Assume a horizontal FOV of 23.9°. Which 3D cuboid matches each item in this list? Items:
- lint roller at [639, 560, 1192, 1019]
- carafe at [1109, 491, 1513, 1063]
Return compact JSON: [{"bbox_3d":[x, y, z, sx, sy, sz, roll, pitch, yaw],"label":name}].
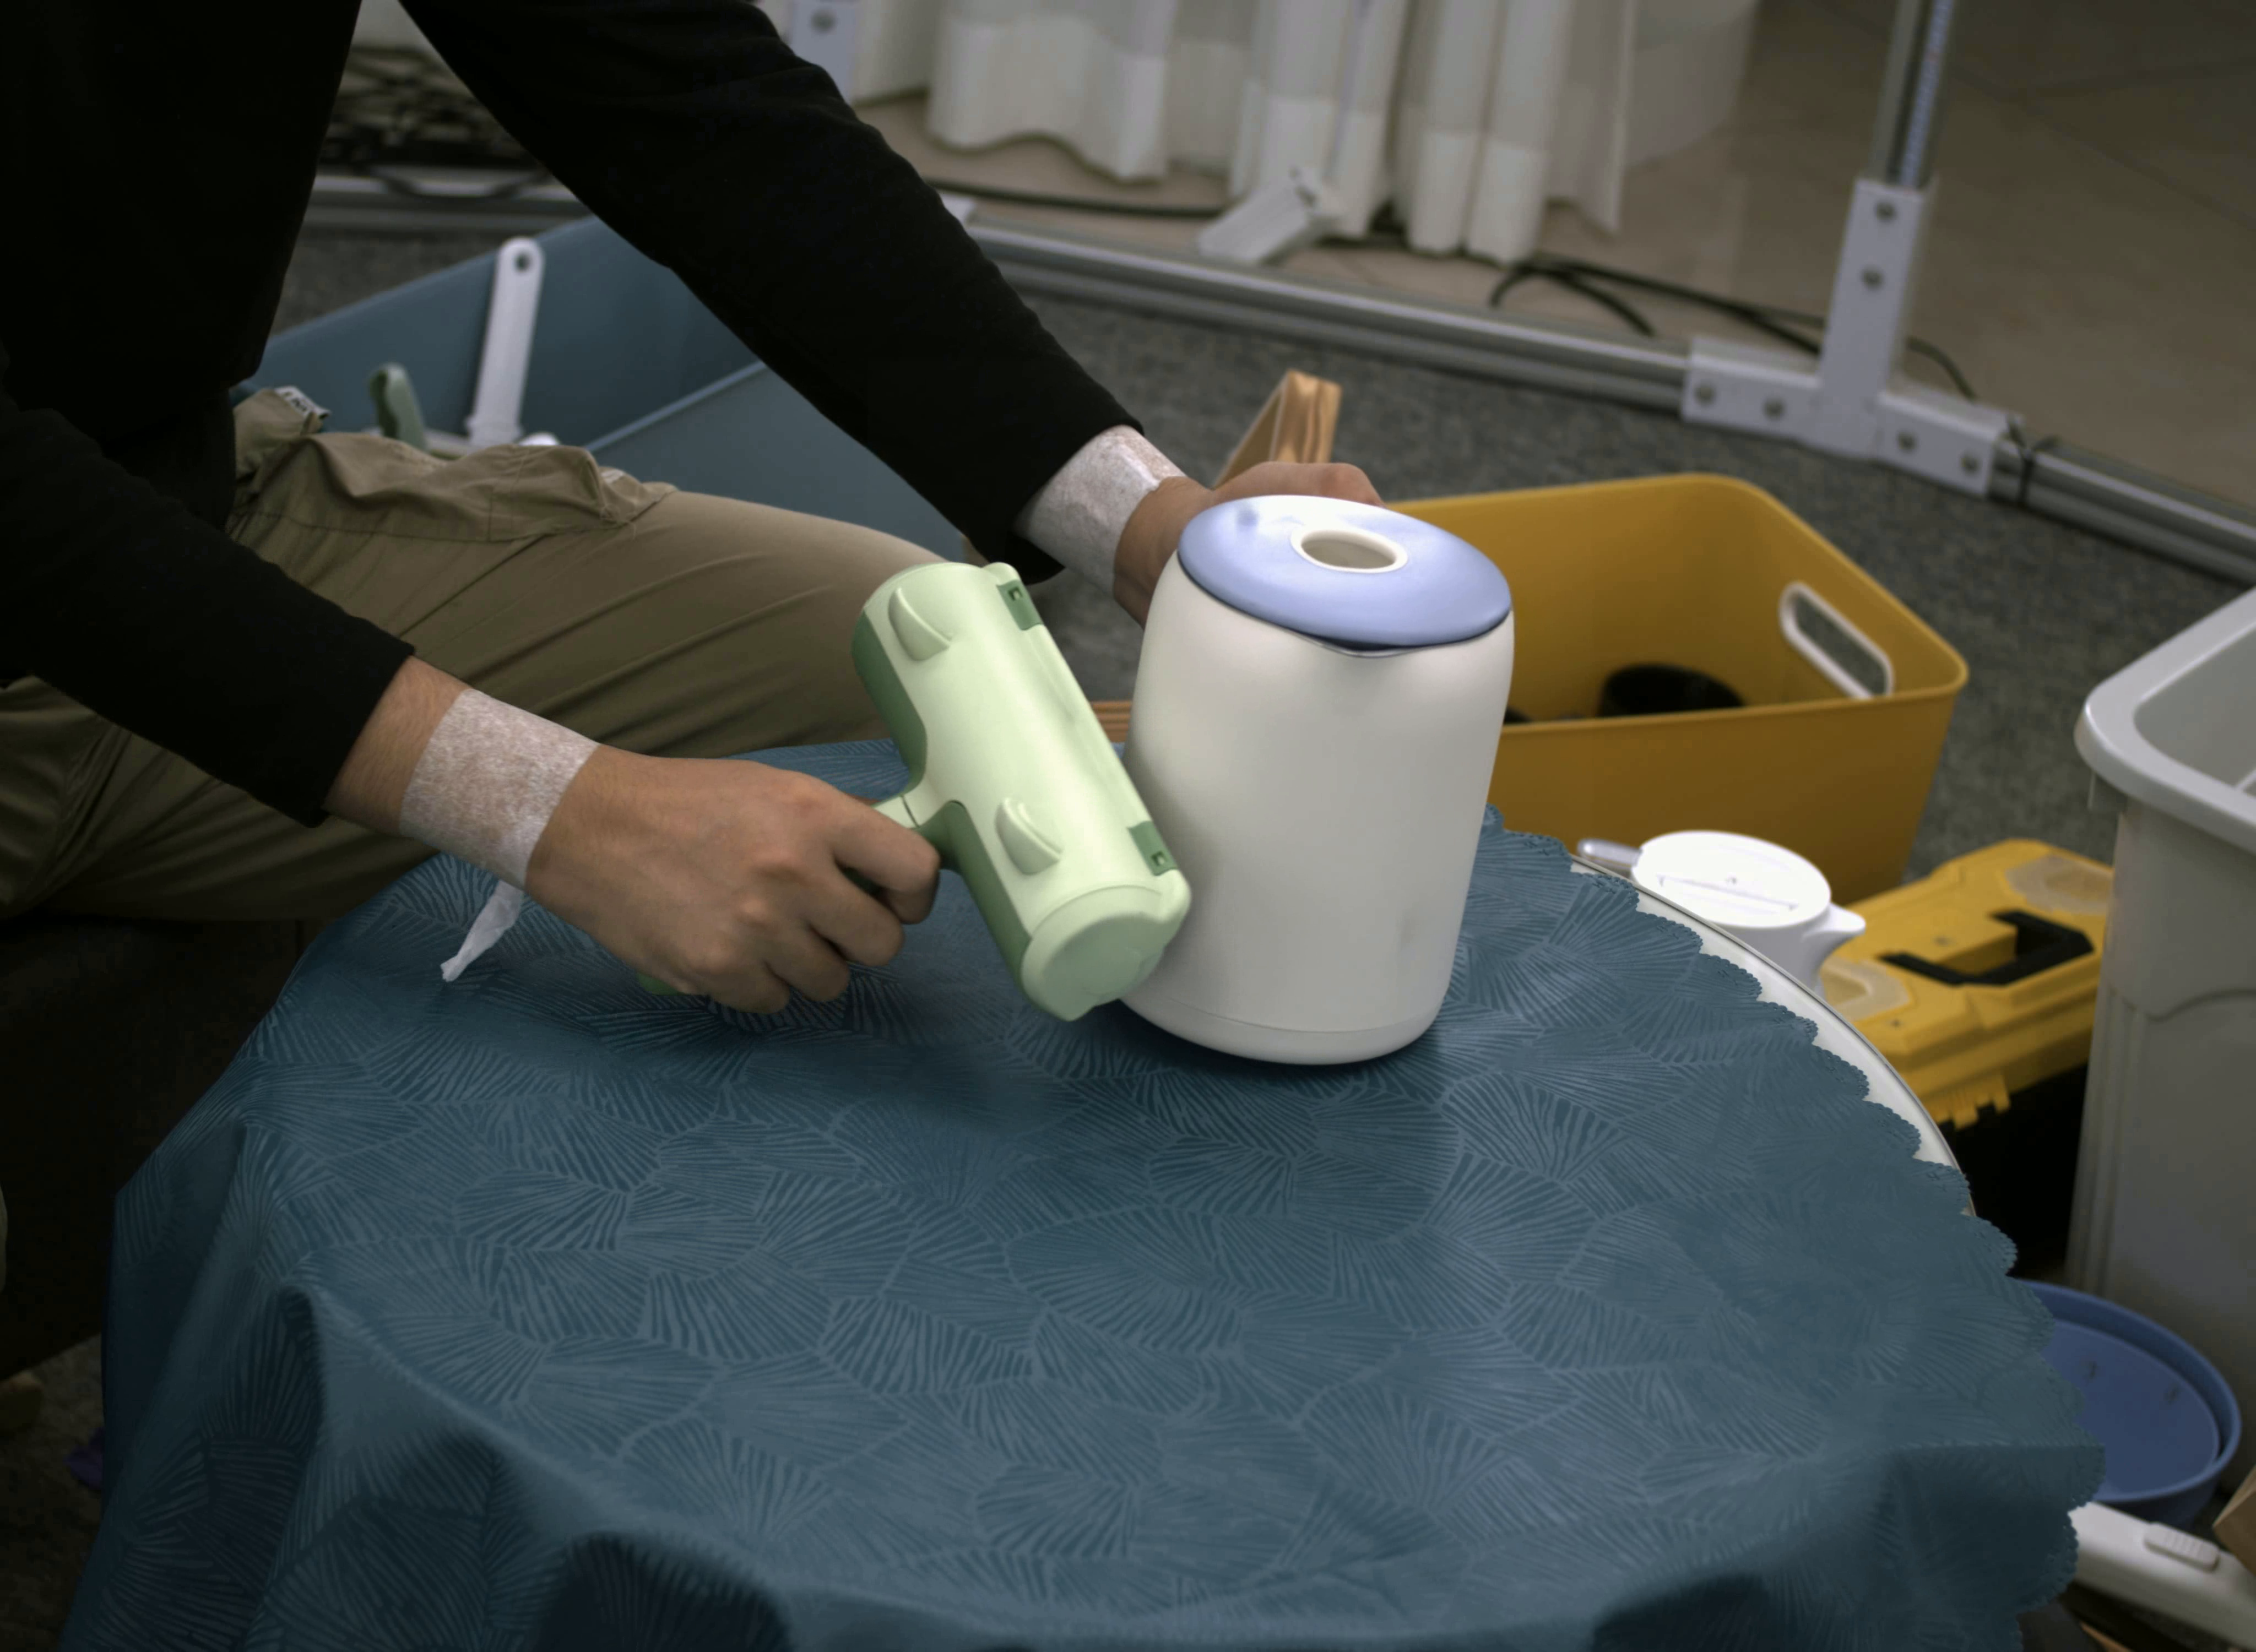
[{"bbox_3d":[-0.093,-0.001,1.863,0.183,0.081,0.200,-22,46,-7],"label":"lint roller"},{"bbox_3d":[0.061,-0.028,1.918,0.131,0.182,0.192,7,22,-8],"label":"carafe"}]
